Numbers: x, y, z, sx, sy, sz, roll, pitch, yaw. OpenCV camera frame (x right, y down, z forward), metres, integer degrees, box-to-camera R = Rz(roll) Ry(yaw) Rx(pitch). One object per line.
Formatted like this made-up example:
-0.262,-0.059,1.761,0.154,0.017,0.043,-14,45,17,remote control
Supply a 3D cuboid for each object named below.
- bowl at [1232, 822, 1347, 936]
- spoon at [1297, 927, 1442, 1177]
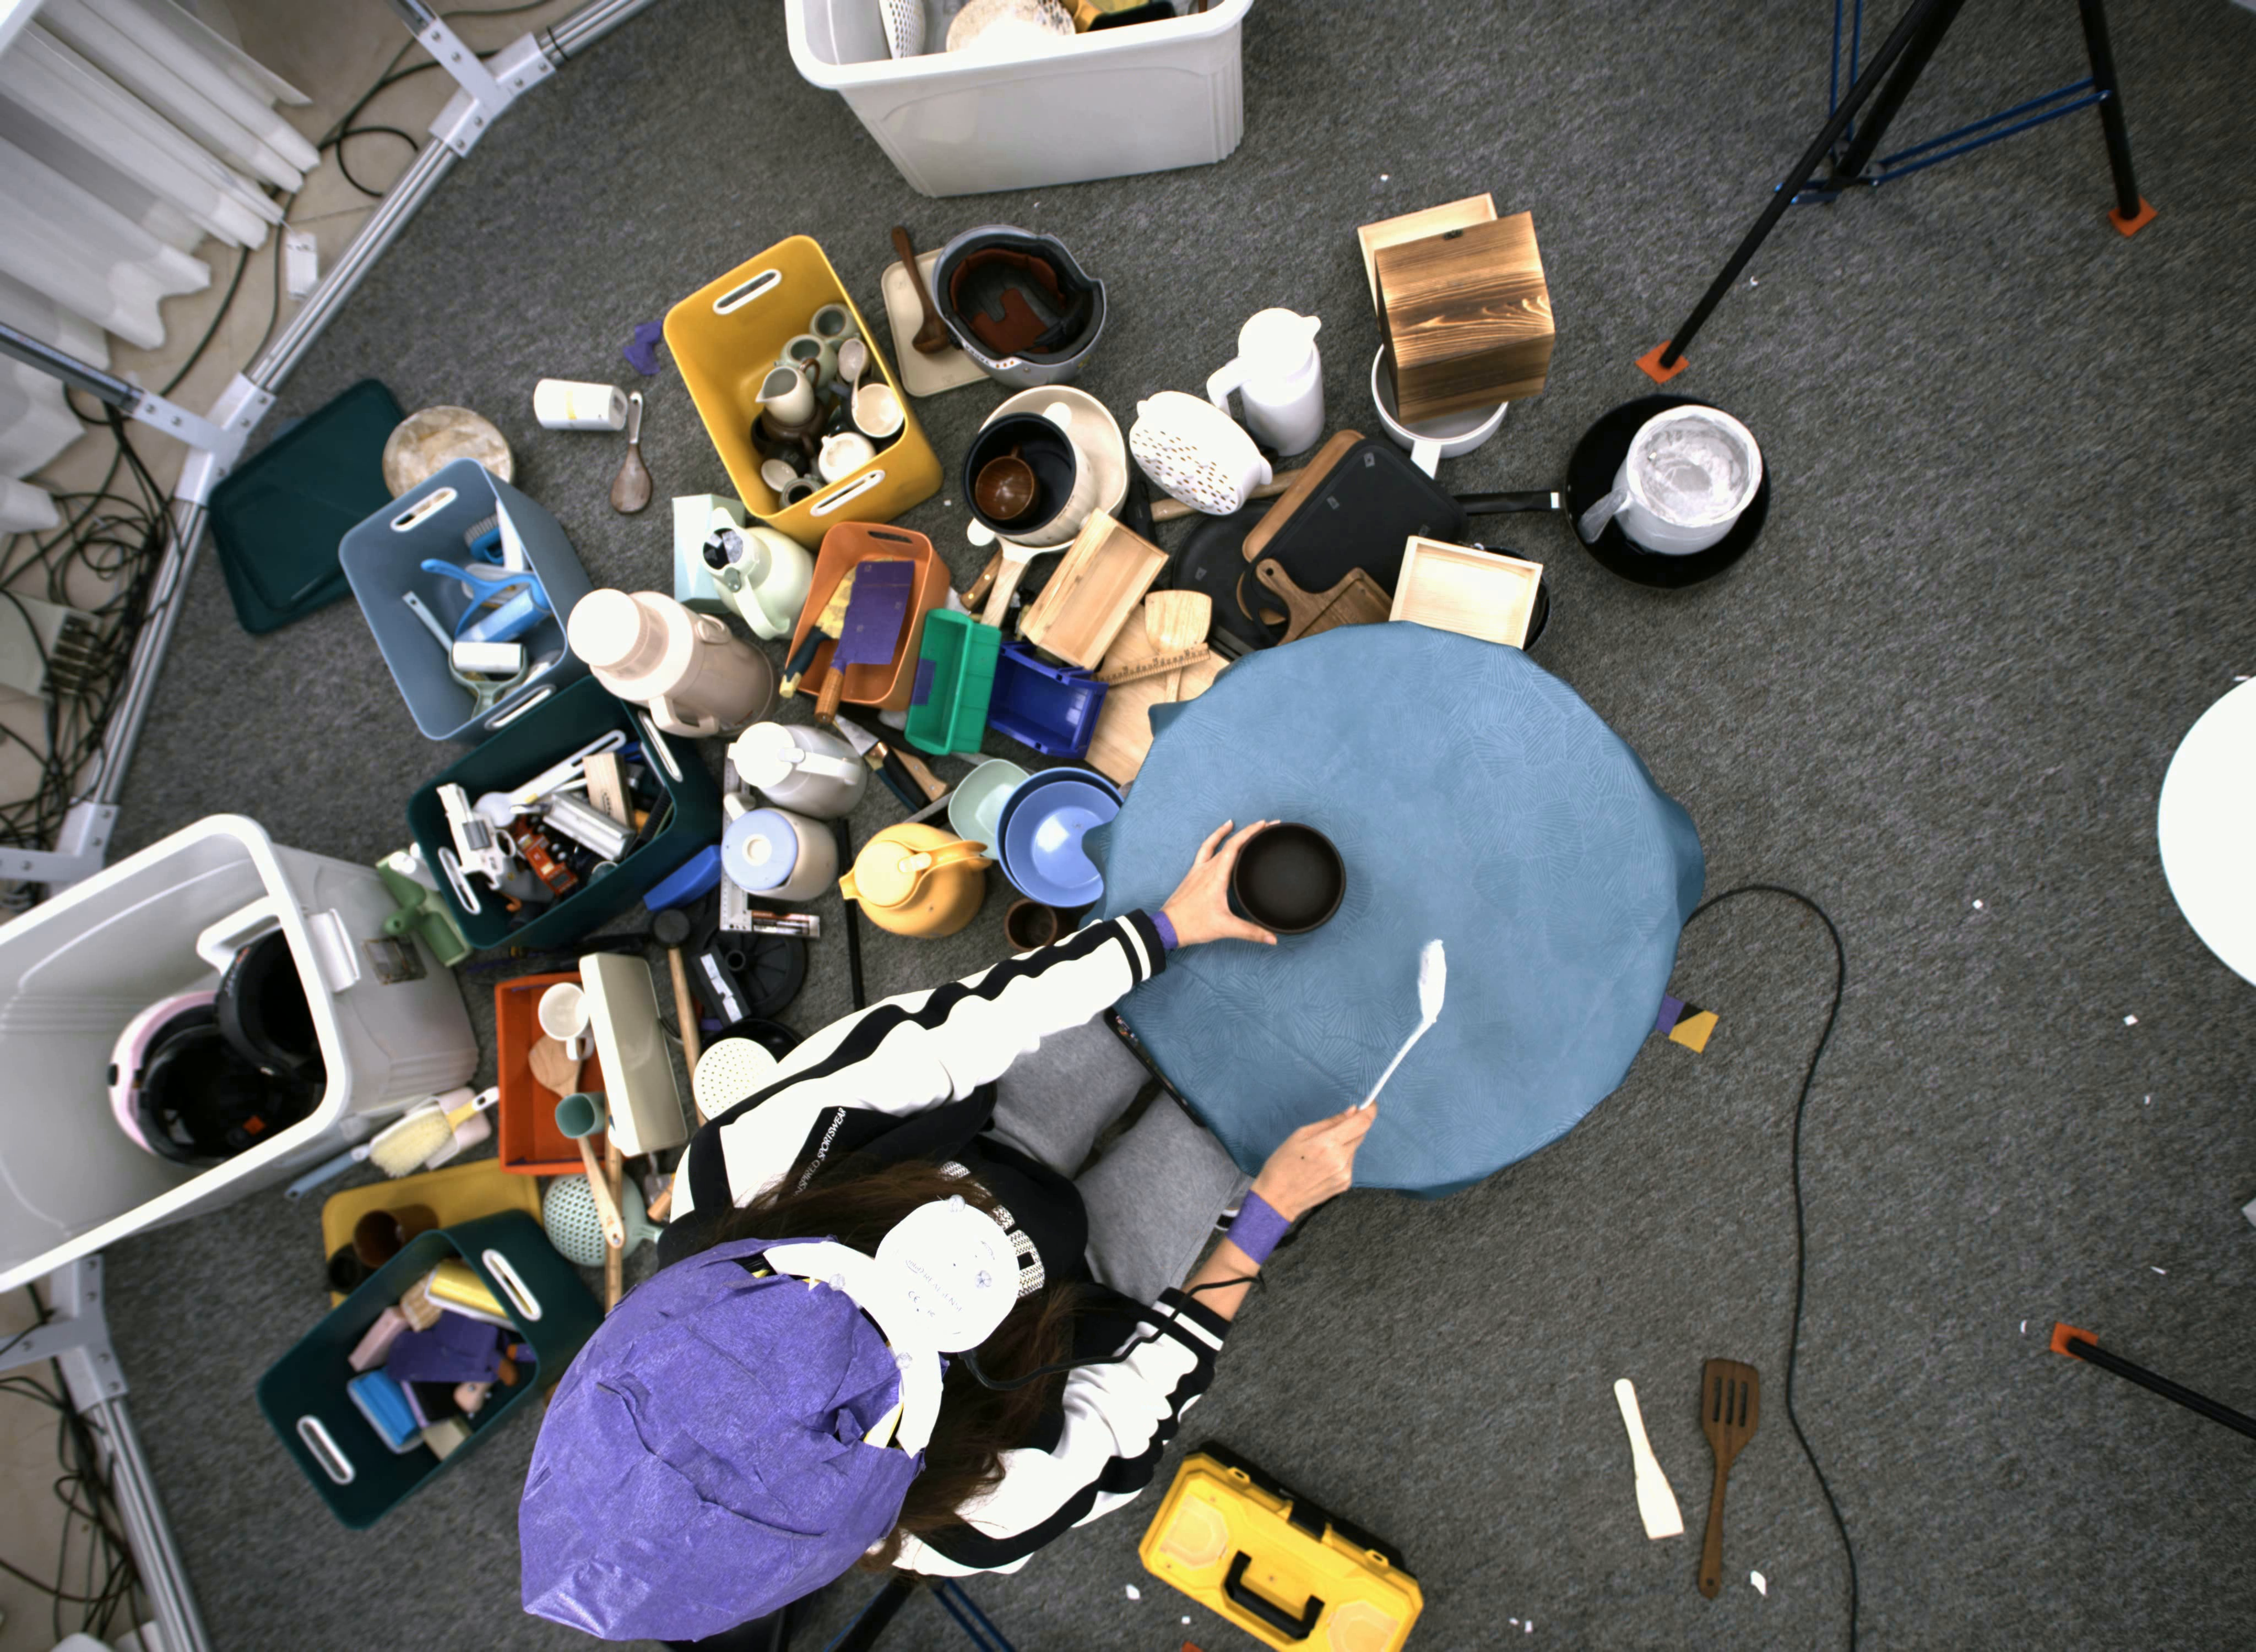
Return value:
0.169,0.056,1.443,0.118,0.070,0.117,-1,86,10,bowl
0.228,0.222,1.355,0.059,0.099,0.281,36,105,1,spoon
